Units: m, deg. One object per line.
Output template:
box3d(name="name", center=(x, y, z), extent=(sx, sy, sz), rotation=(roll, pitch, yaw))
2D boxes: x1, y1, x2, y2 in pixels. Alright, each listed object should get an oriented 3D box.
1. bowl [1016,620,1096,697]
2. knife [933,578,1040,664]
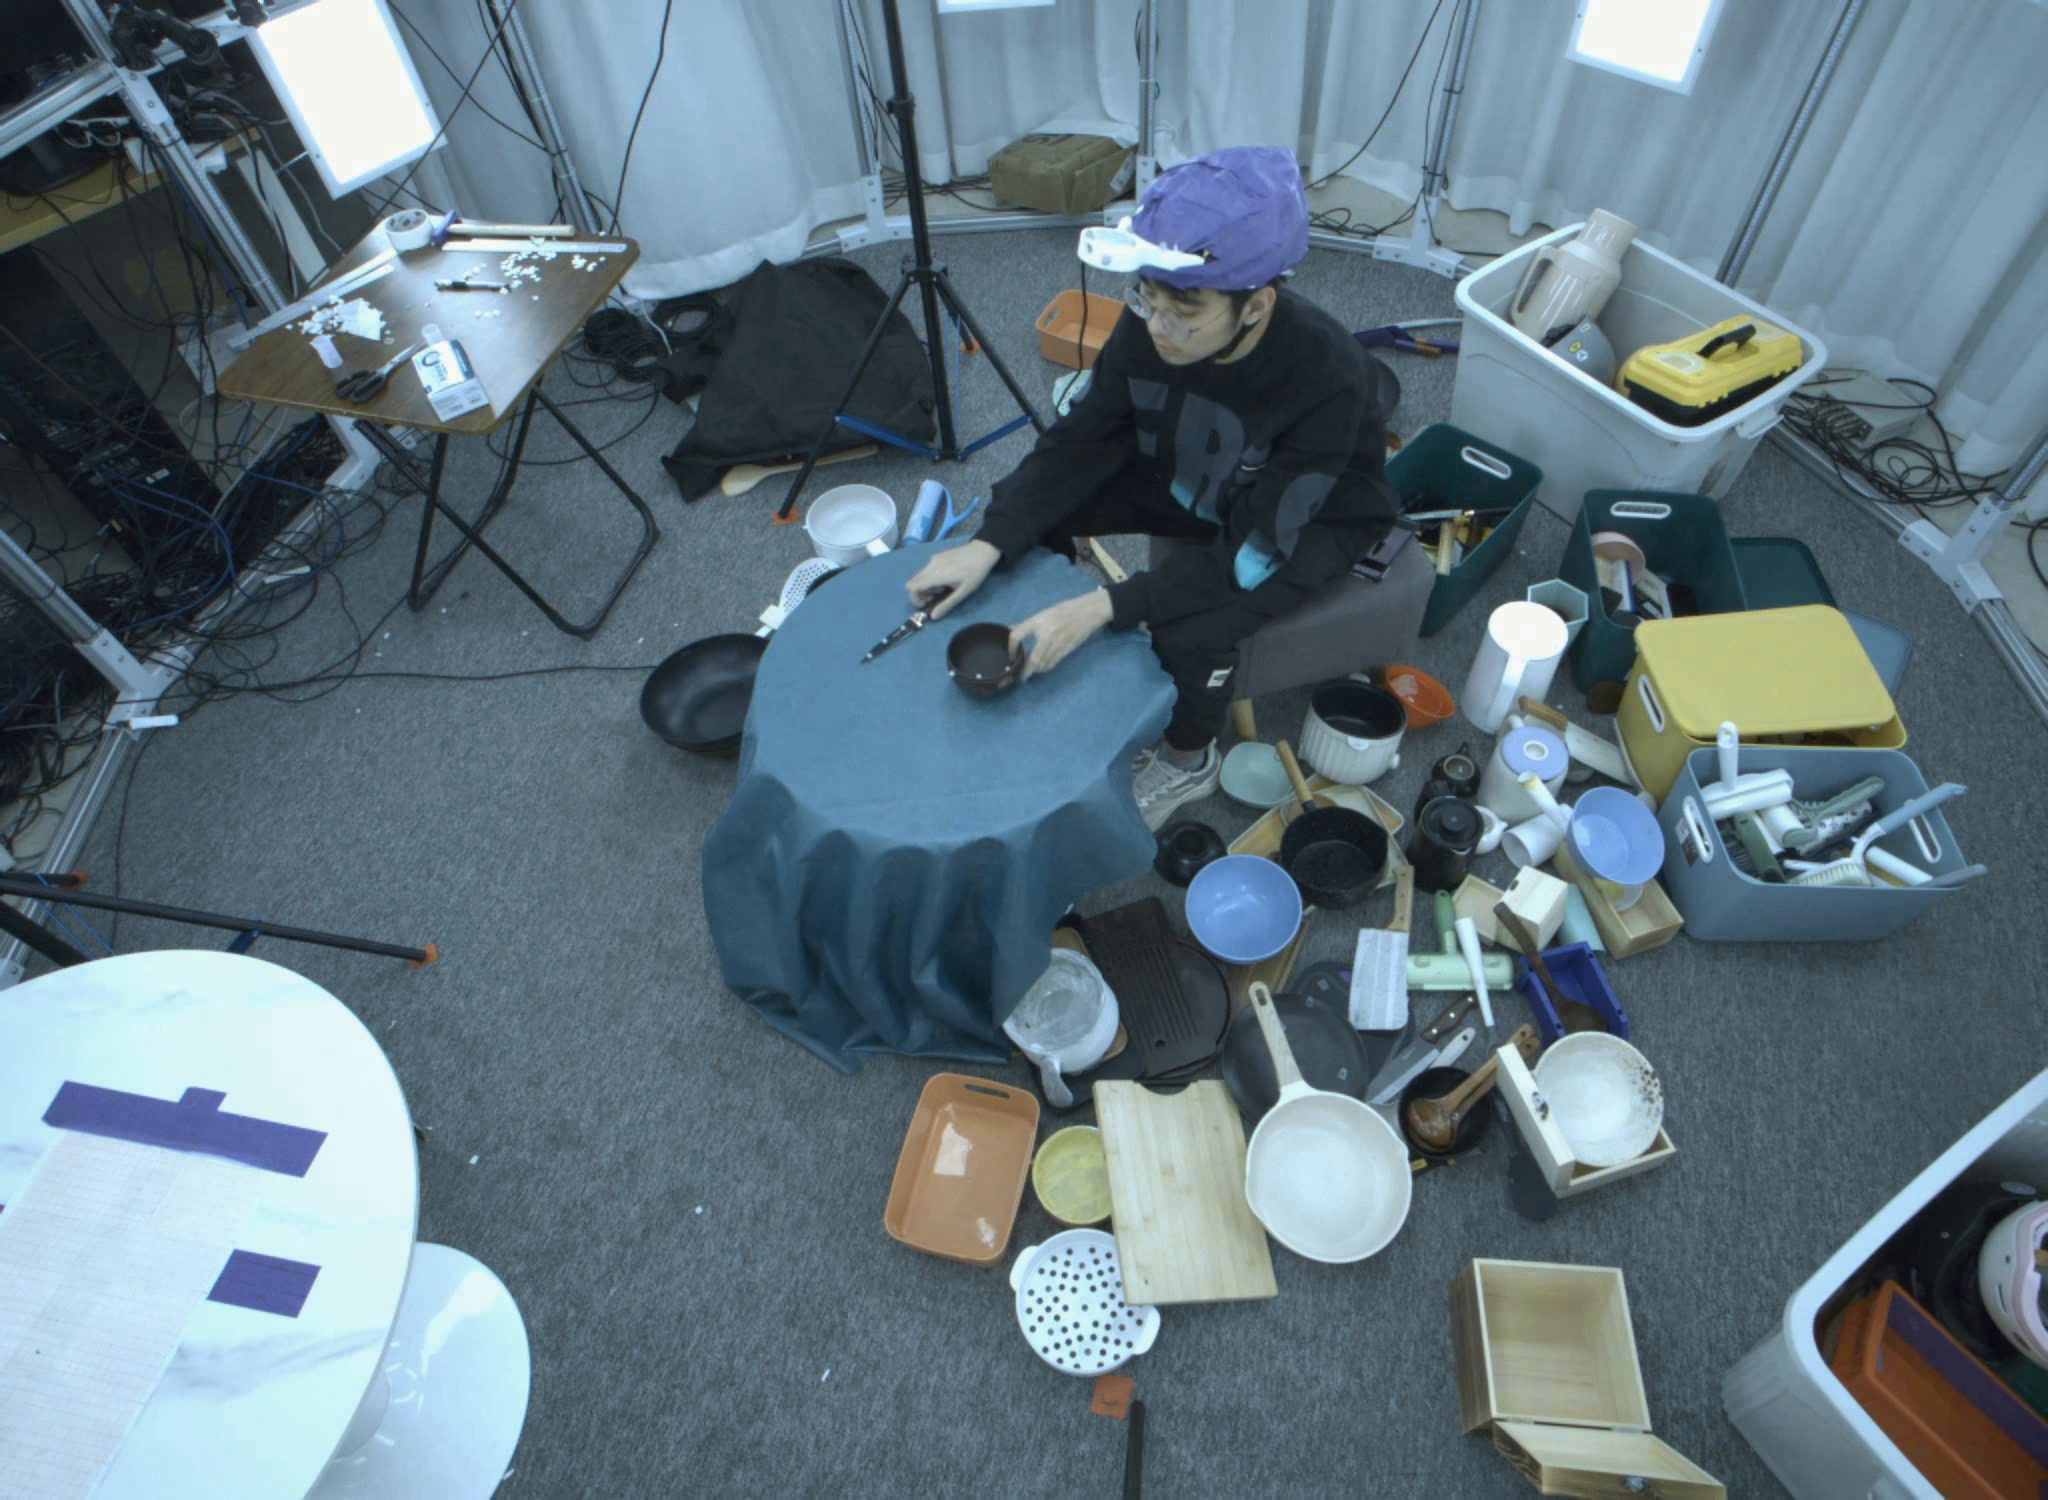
box3d(name="bowl", center=(0.048, -0.128, 1.829), extent=(0.118, 0.070, 0.117), rotation=(0, 56, 1))
box3d(name="knife", center=(-0.060, -0.204, 1.926), extent=(0.227, 0.017, 0.026), rotation=(-38, 69, -20))
